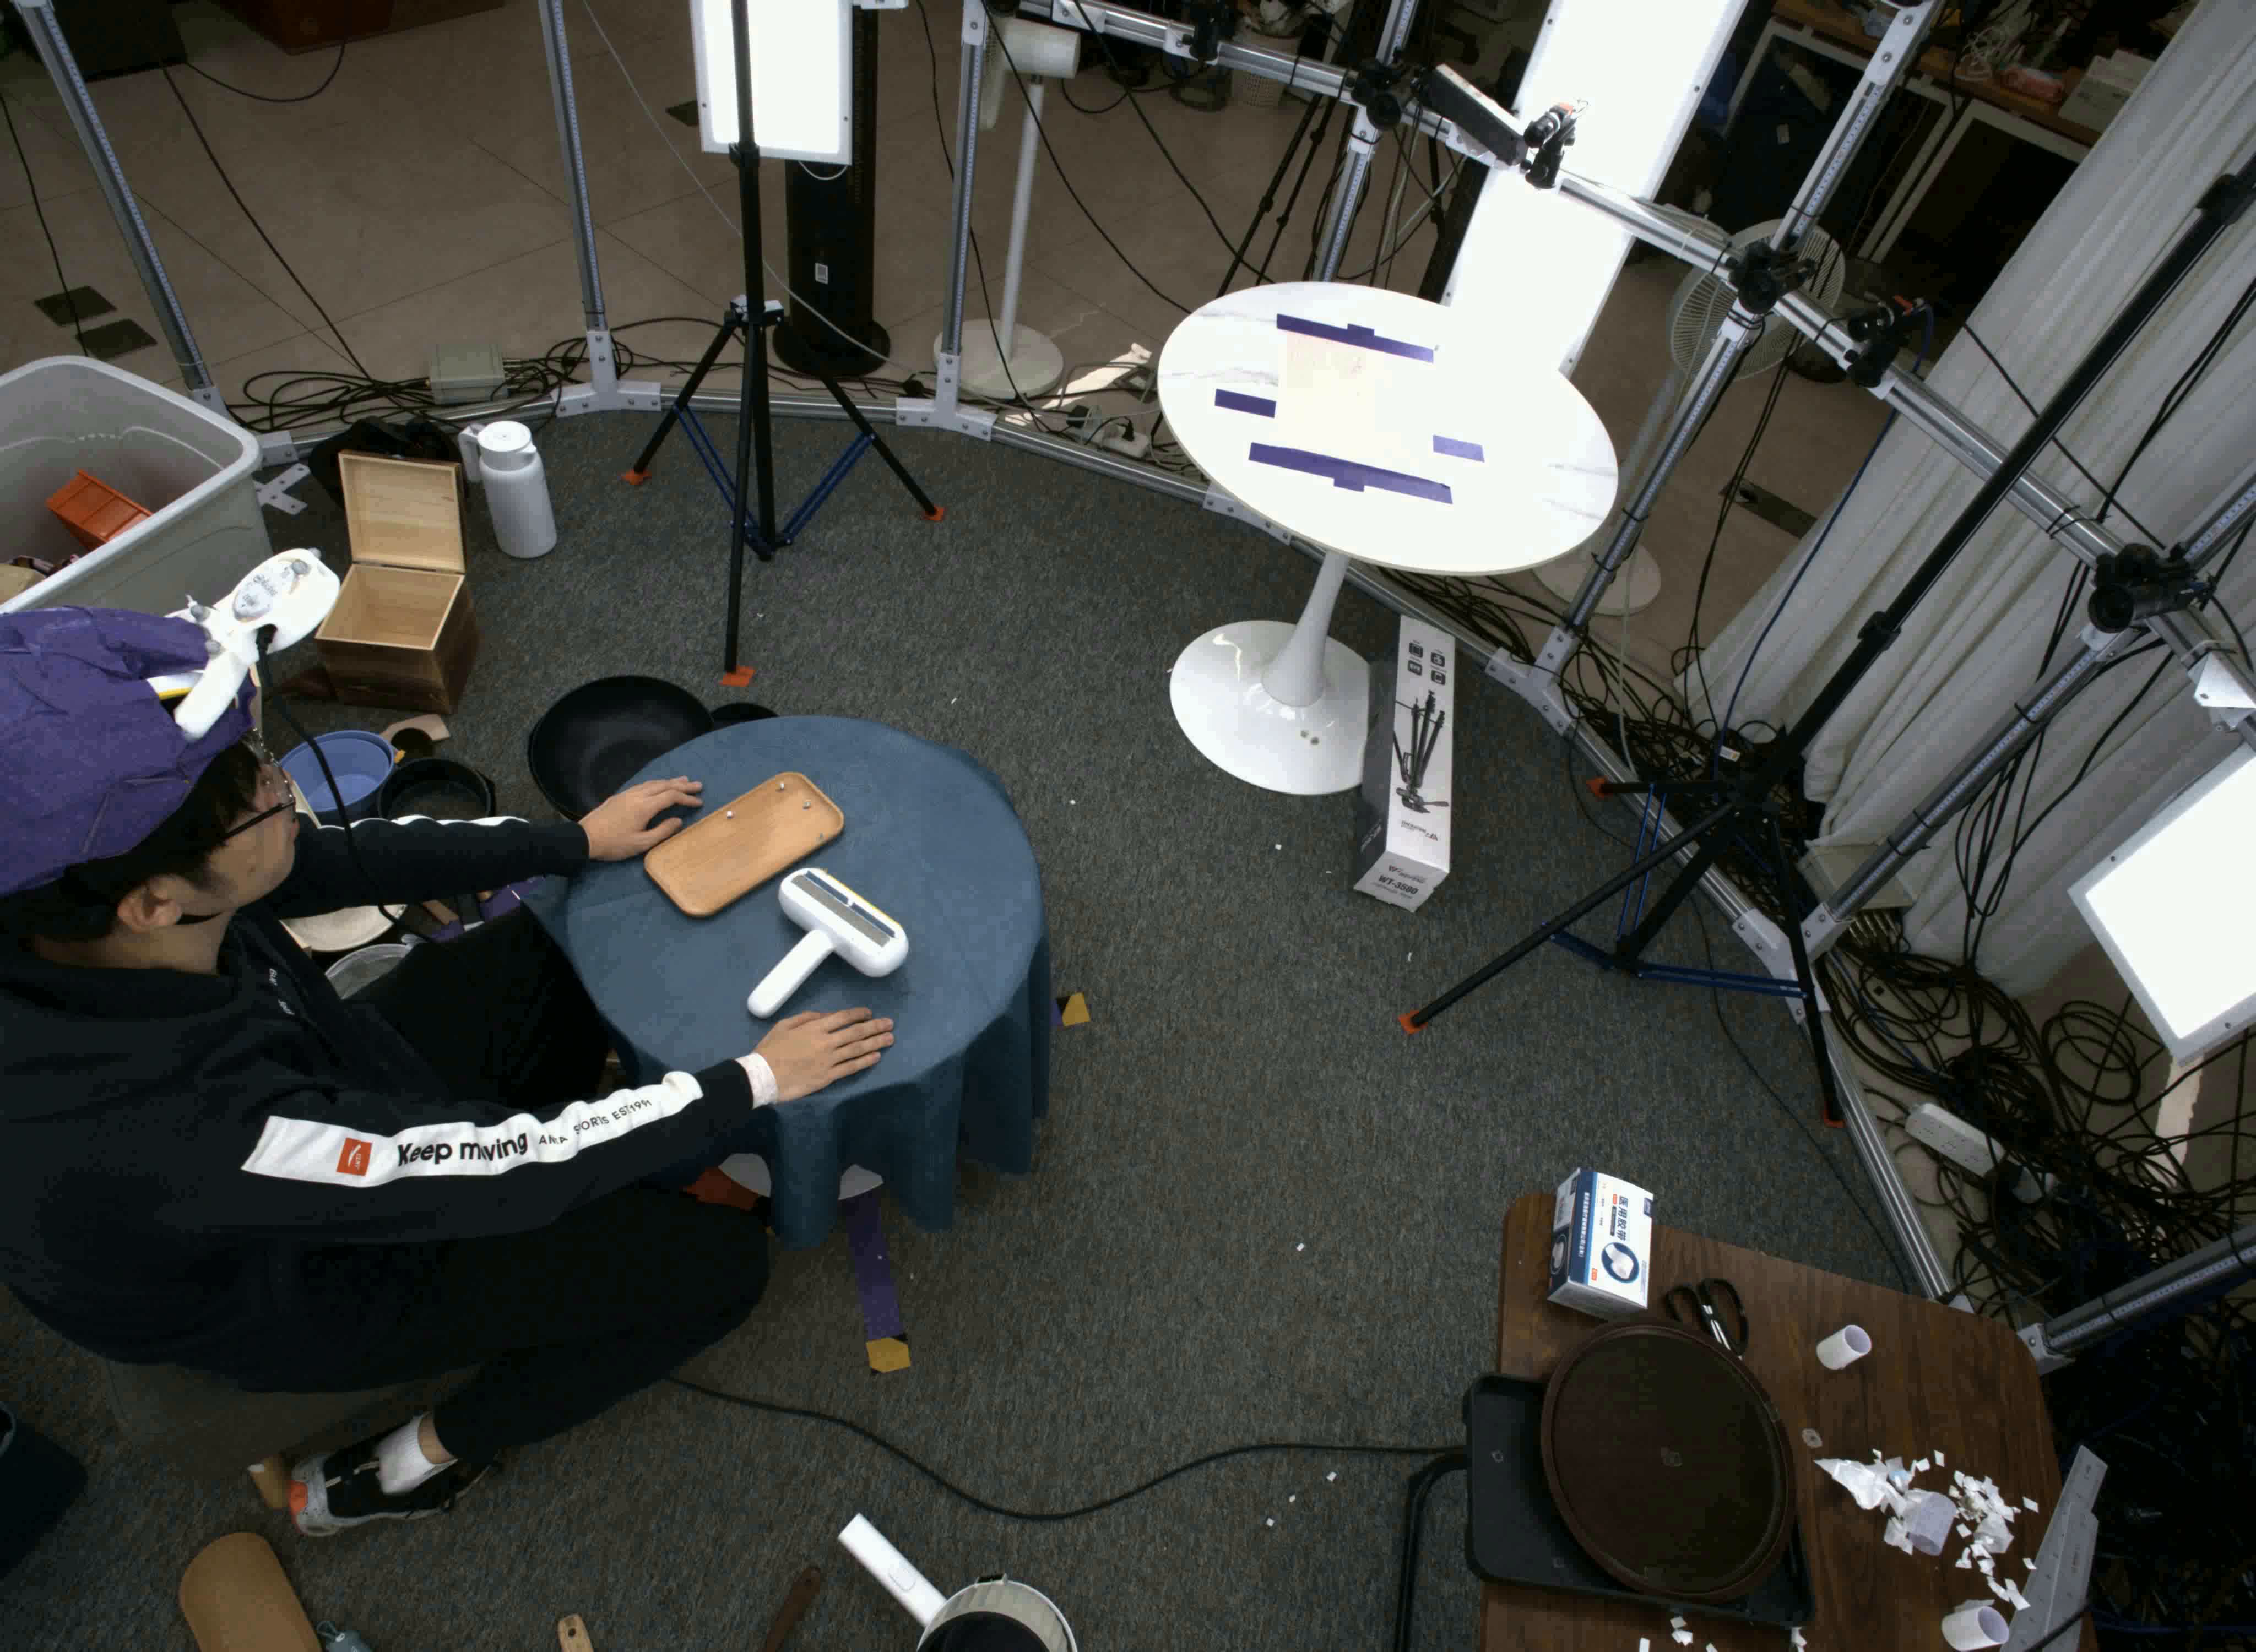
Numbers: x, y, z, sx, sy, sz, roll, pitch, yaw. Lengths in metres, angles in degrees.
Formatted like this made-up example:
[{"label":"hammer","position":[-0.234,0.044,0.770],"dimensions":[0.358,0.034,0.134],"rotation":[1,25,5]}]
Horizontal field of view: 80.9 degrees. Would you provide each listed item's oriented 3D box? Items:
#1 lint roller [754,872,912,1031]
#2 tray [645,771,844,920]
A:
[{"label":"lint roller","position":[-0.386,0.167,1.598],"dimensions":[0.187,0.076,0.192],"rotation":[38,69,23]},{"label":"tray","position":[-0.497,0.021,1.684],"dimensions":[0.127,0.023,0.251],"rotation":[42,56,19]}]
